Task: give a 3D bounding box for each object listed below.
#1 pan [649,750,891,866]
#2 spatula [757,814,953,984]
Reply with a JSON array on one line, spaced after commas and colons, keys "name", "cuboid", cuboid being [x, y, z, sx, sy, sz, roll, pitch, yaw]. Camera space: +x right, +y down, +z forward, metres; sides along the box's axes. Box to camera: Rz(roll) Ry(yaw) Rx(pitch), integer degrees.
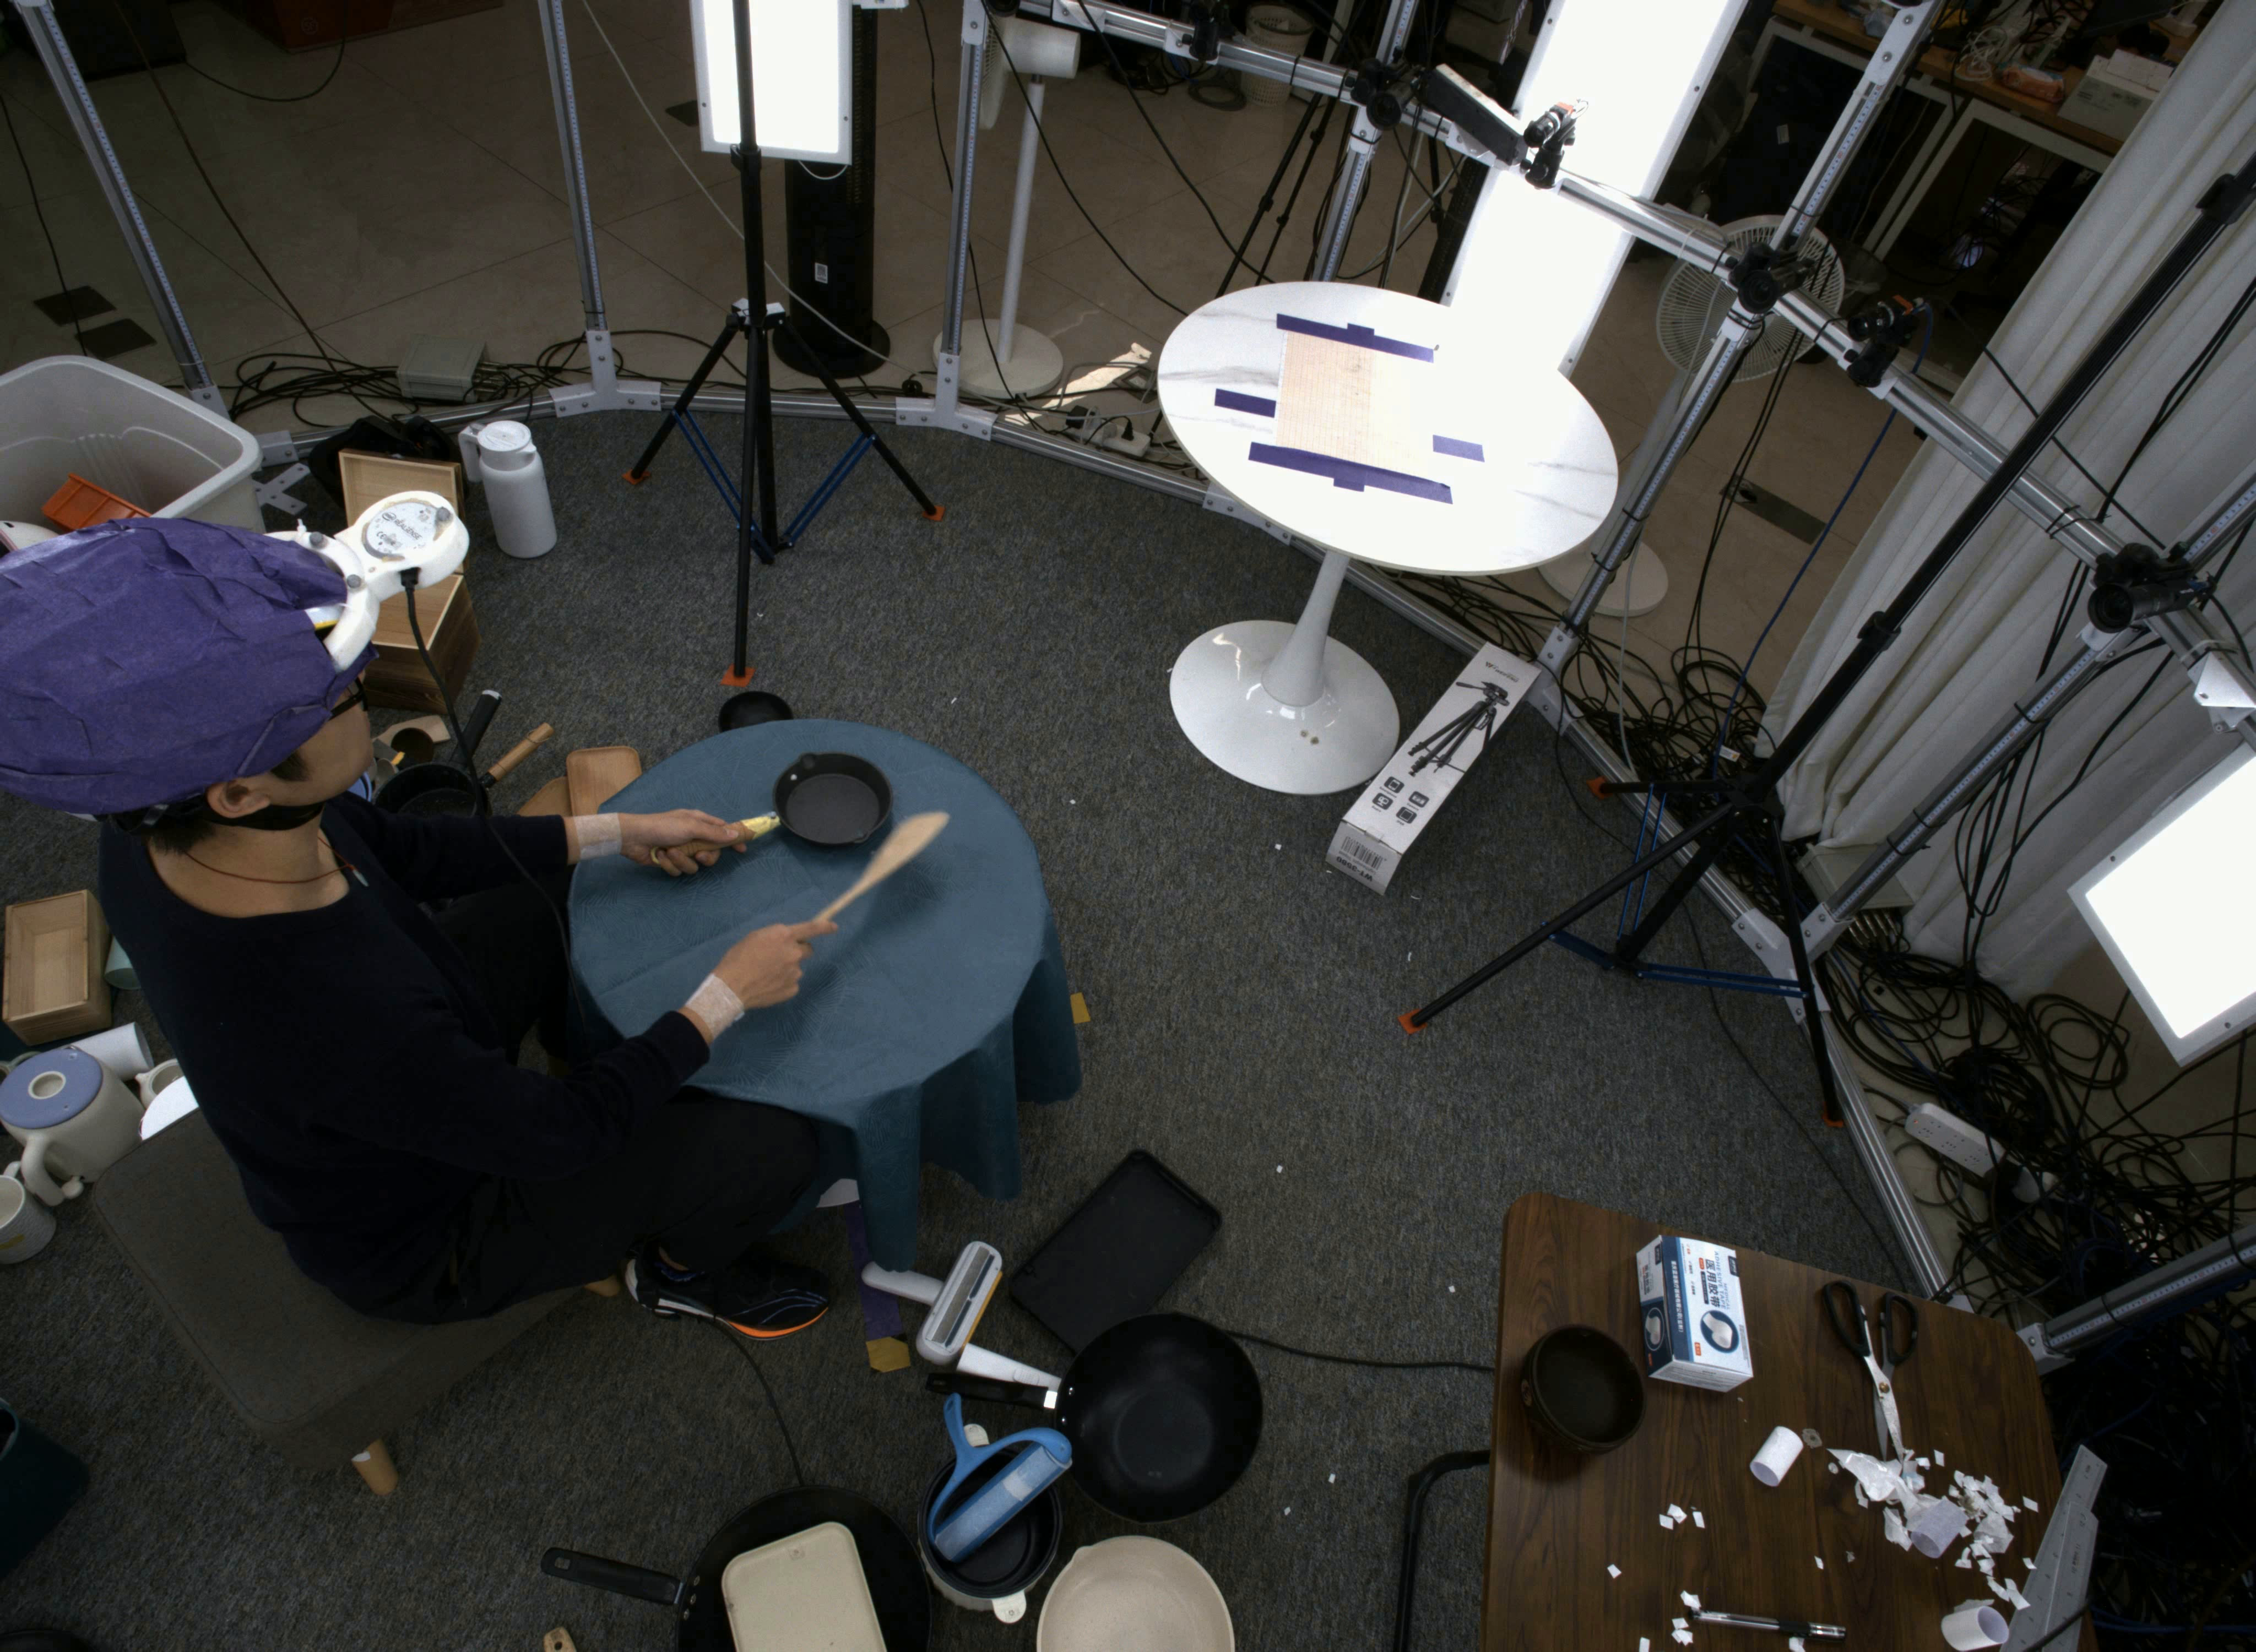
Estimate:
[{"name": "pan", "cuboid": [-0.463, -0.009, 1.677, 0.326, 0.050, 0.165, -21, 61, -29]}, {"name": "spatula", "cuboid": [-0.336, 0.084, 1.590, 0.327, 0.077, 0.017, -45, 118, -38]}]
